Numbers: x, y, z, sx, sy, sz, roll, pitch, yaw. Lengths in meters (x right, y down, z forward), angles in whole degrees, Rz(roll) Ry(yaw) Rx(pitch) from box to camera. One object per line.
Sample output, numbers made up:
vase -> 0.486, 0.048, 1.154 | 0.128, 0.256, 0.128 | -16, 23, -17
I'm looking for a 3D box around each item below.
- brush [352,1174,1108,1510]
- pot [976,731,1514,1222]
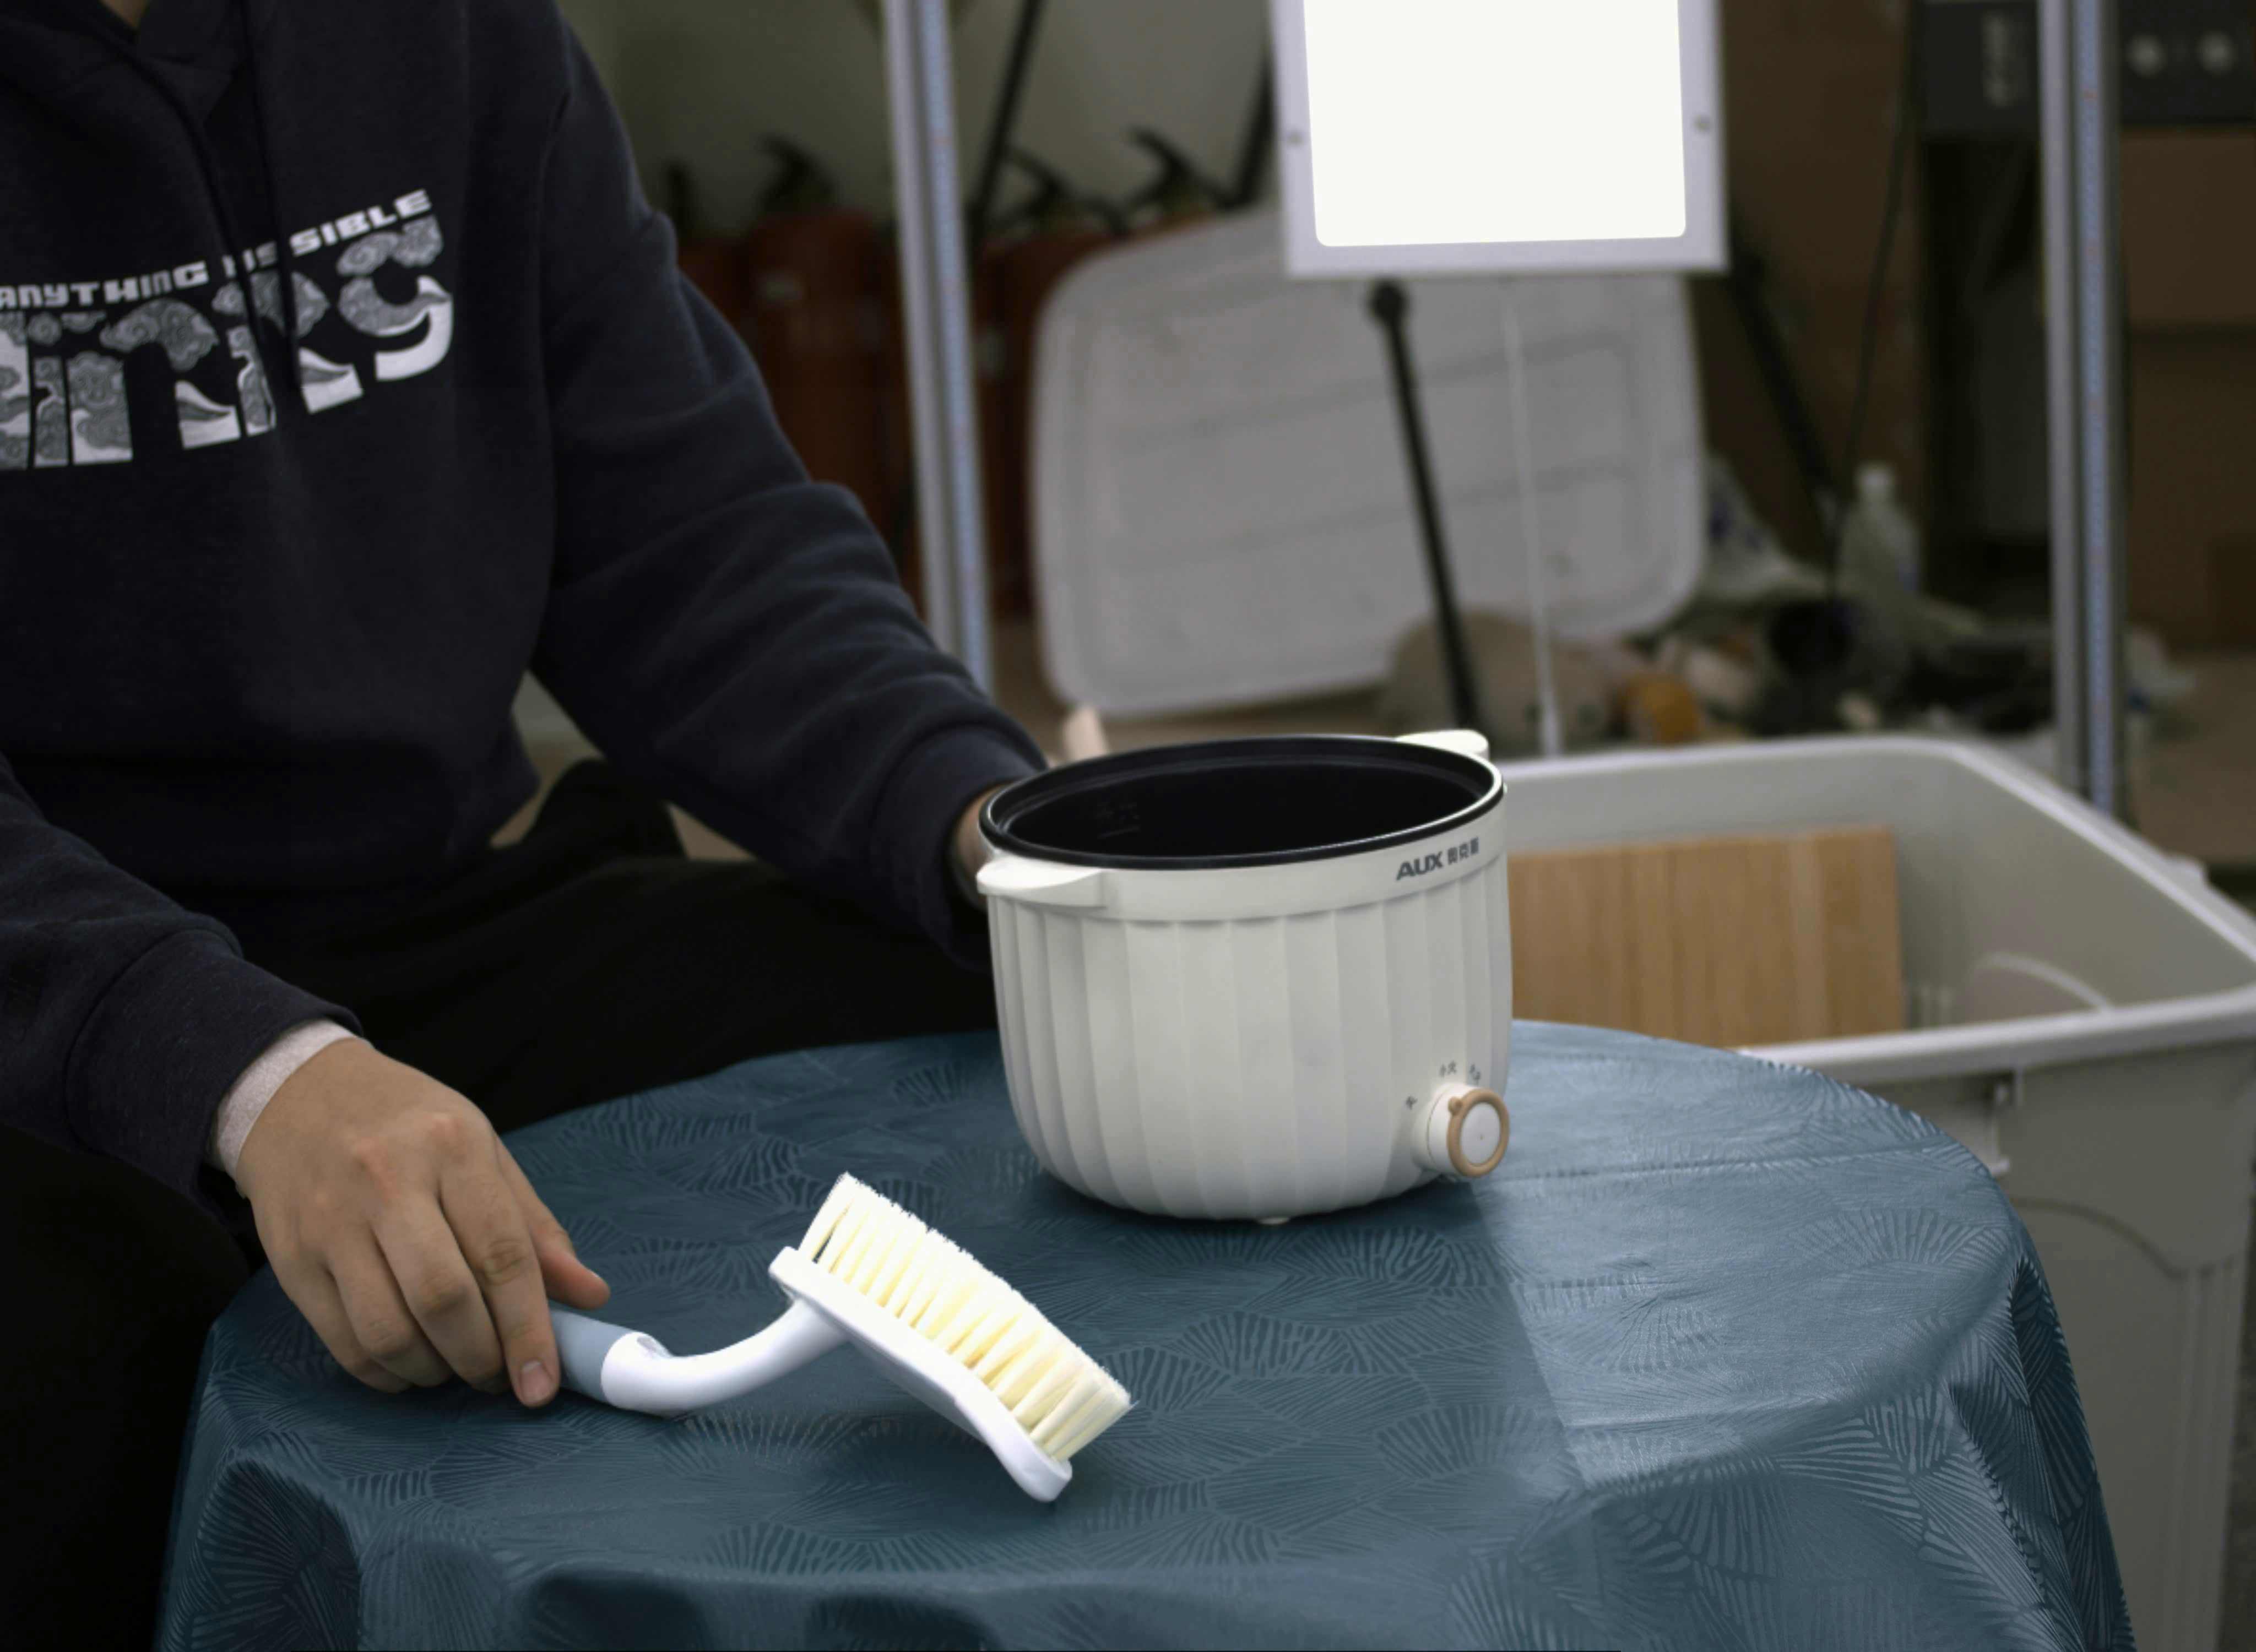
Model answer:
brush -> -0.125, 0.139, 1.715 | 0.082, 0.083, 0.332 | -23, 23, -39
pot -> 0.048, 0.053, 1.890 | 0.195, 0.143, 0.234 | 5, 17, 45
